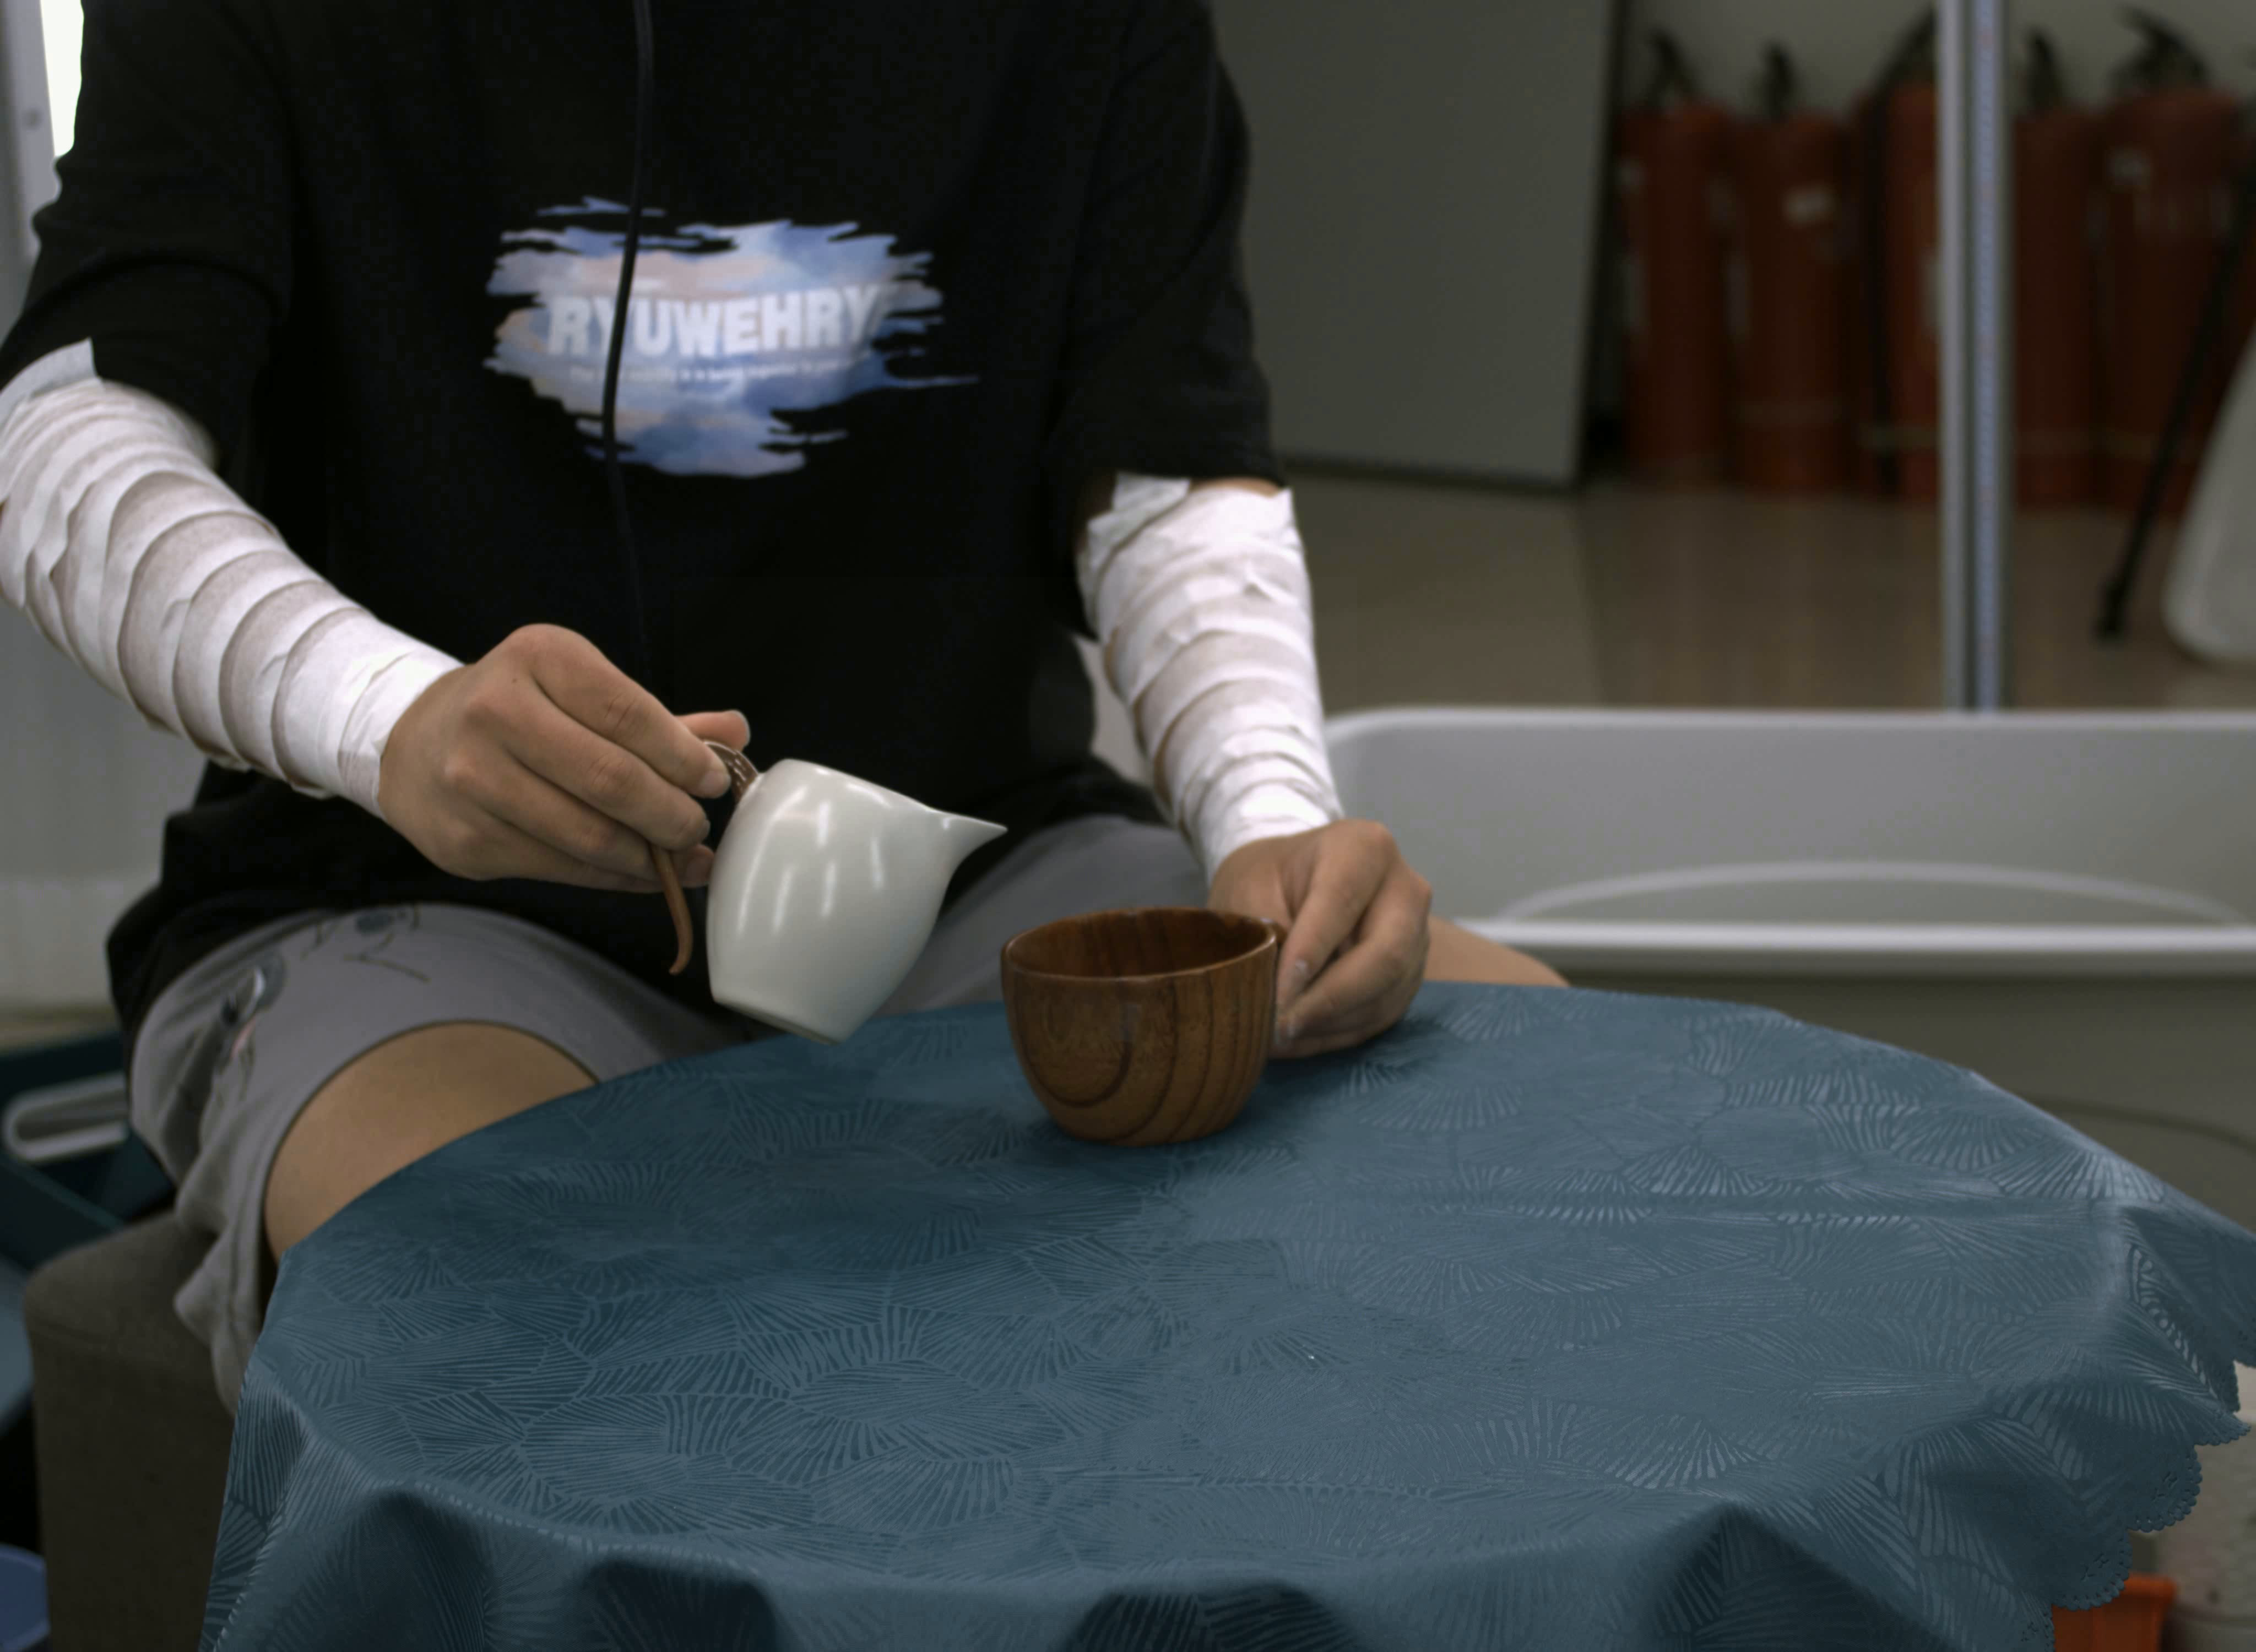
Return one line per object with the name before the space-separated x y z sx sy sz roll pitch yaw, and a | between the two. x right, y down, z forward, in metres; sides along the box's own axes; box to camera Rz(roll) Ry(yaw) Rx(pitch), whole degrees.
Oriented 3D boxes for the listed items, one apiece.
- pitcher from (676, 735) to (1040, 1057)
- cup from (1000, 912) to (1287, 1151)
pitcher | -0.098 0.023 1.765 0.118 0.088 0.076 24 -10 -4
cup | 0.015 0.069 1.847 0.117 0.068 0.097 -14 13 -42
